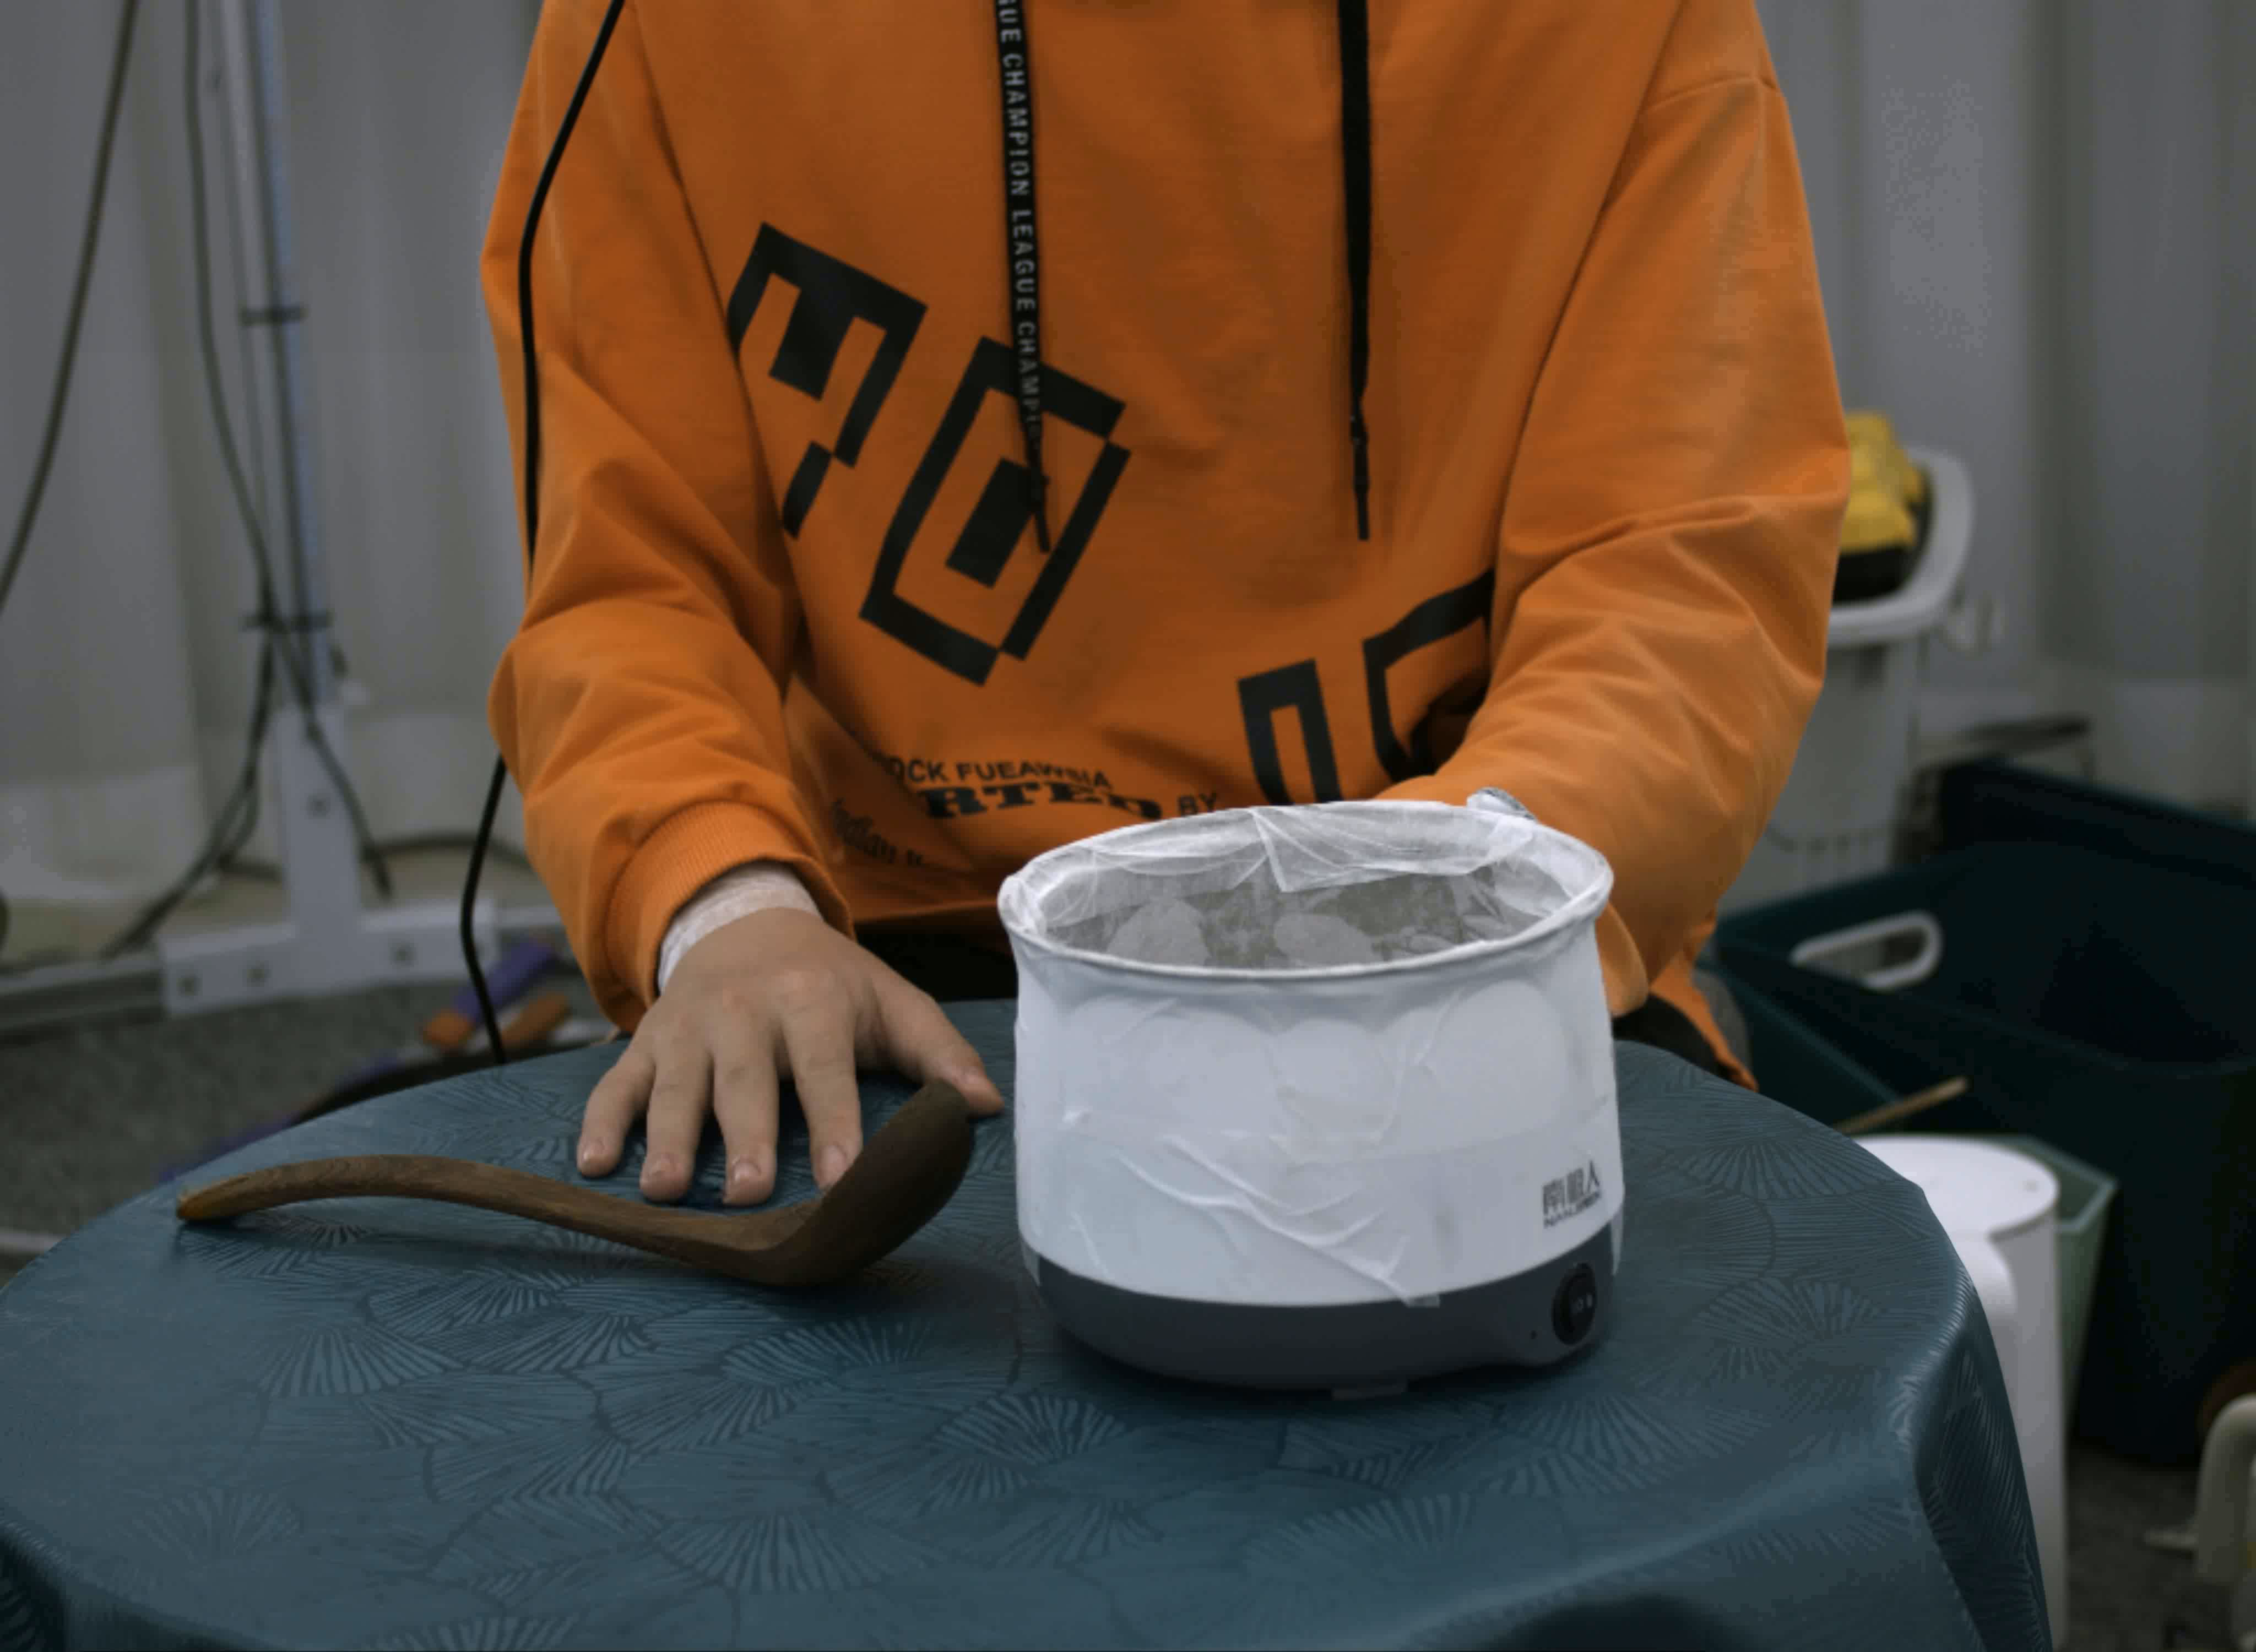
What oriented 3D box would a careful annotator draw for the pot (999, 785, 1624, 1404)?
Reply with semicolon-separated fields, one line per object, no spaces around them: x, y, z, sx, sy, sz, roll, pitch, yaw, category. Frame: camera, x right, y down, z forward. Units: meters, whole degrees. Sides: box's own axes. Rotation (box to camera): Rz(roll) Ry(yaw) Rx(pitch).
0.070;0.071;1.601;0.179;0.136;0.234;8;18;34;pot

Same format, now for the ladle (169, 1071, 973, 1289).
-0.175;0.099;1.676;0.274;0.071;0.076;5;13;24;ladle
